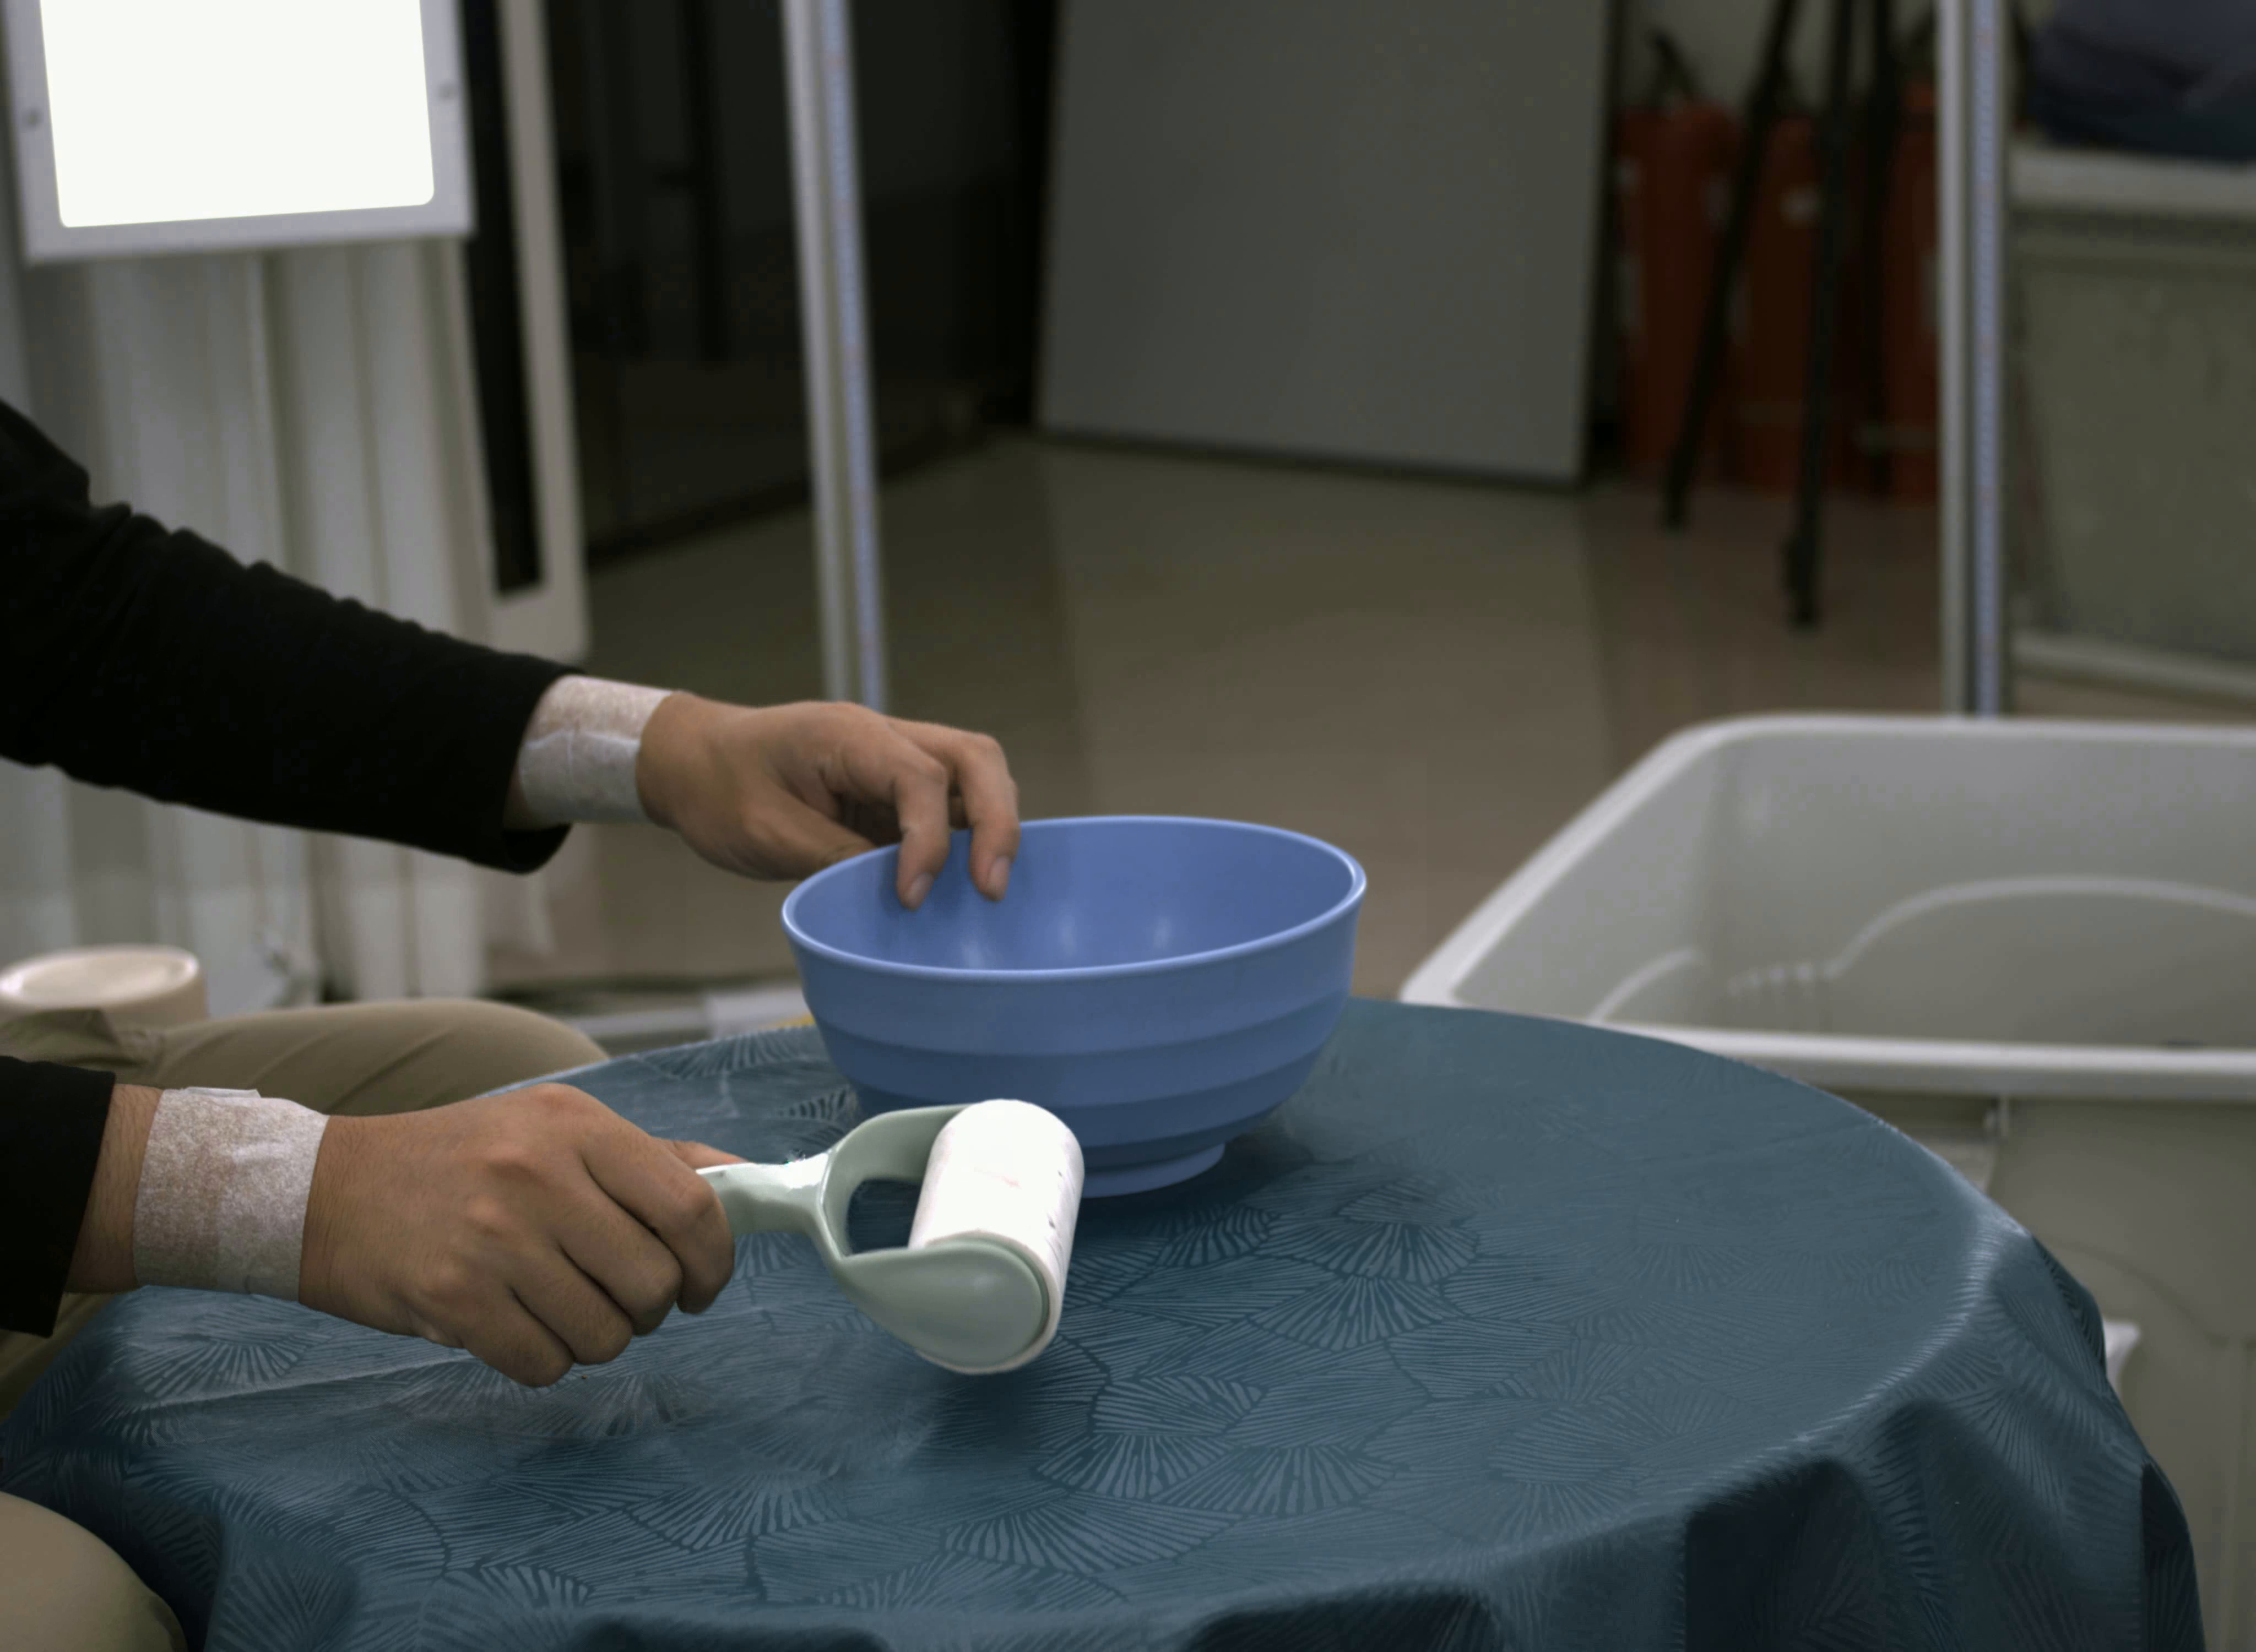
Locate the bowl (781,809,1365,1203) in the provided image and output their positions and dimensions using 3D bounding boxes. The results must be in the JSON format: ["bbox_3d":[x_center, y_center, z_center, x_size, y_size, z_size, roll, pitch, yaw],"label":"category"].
[{"bbox_3d":[-0.015,0.066,1.797,0.194,0.096,0.197,-4,15,0],"label":"bowl"}]

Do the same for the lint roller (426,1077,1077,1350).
[{"bbox_3d":[-0.112,0.120,1.596,0.196,0.049,0.116,-5,19,6],"label":"lint roller"}]
